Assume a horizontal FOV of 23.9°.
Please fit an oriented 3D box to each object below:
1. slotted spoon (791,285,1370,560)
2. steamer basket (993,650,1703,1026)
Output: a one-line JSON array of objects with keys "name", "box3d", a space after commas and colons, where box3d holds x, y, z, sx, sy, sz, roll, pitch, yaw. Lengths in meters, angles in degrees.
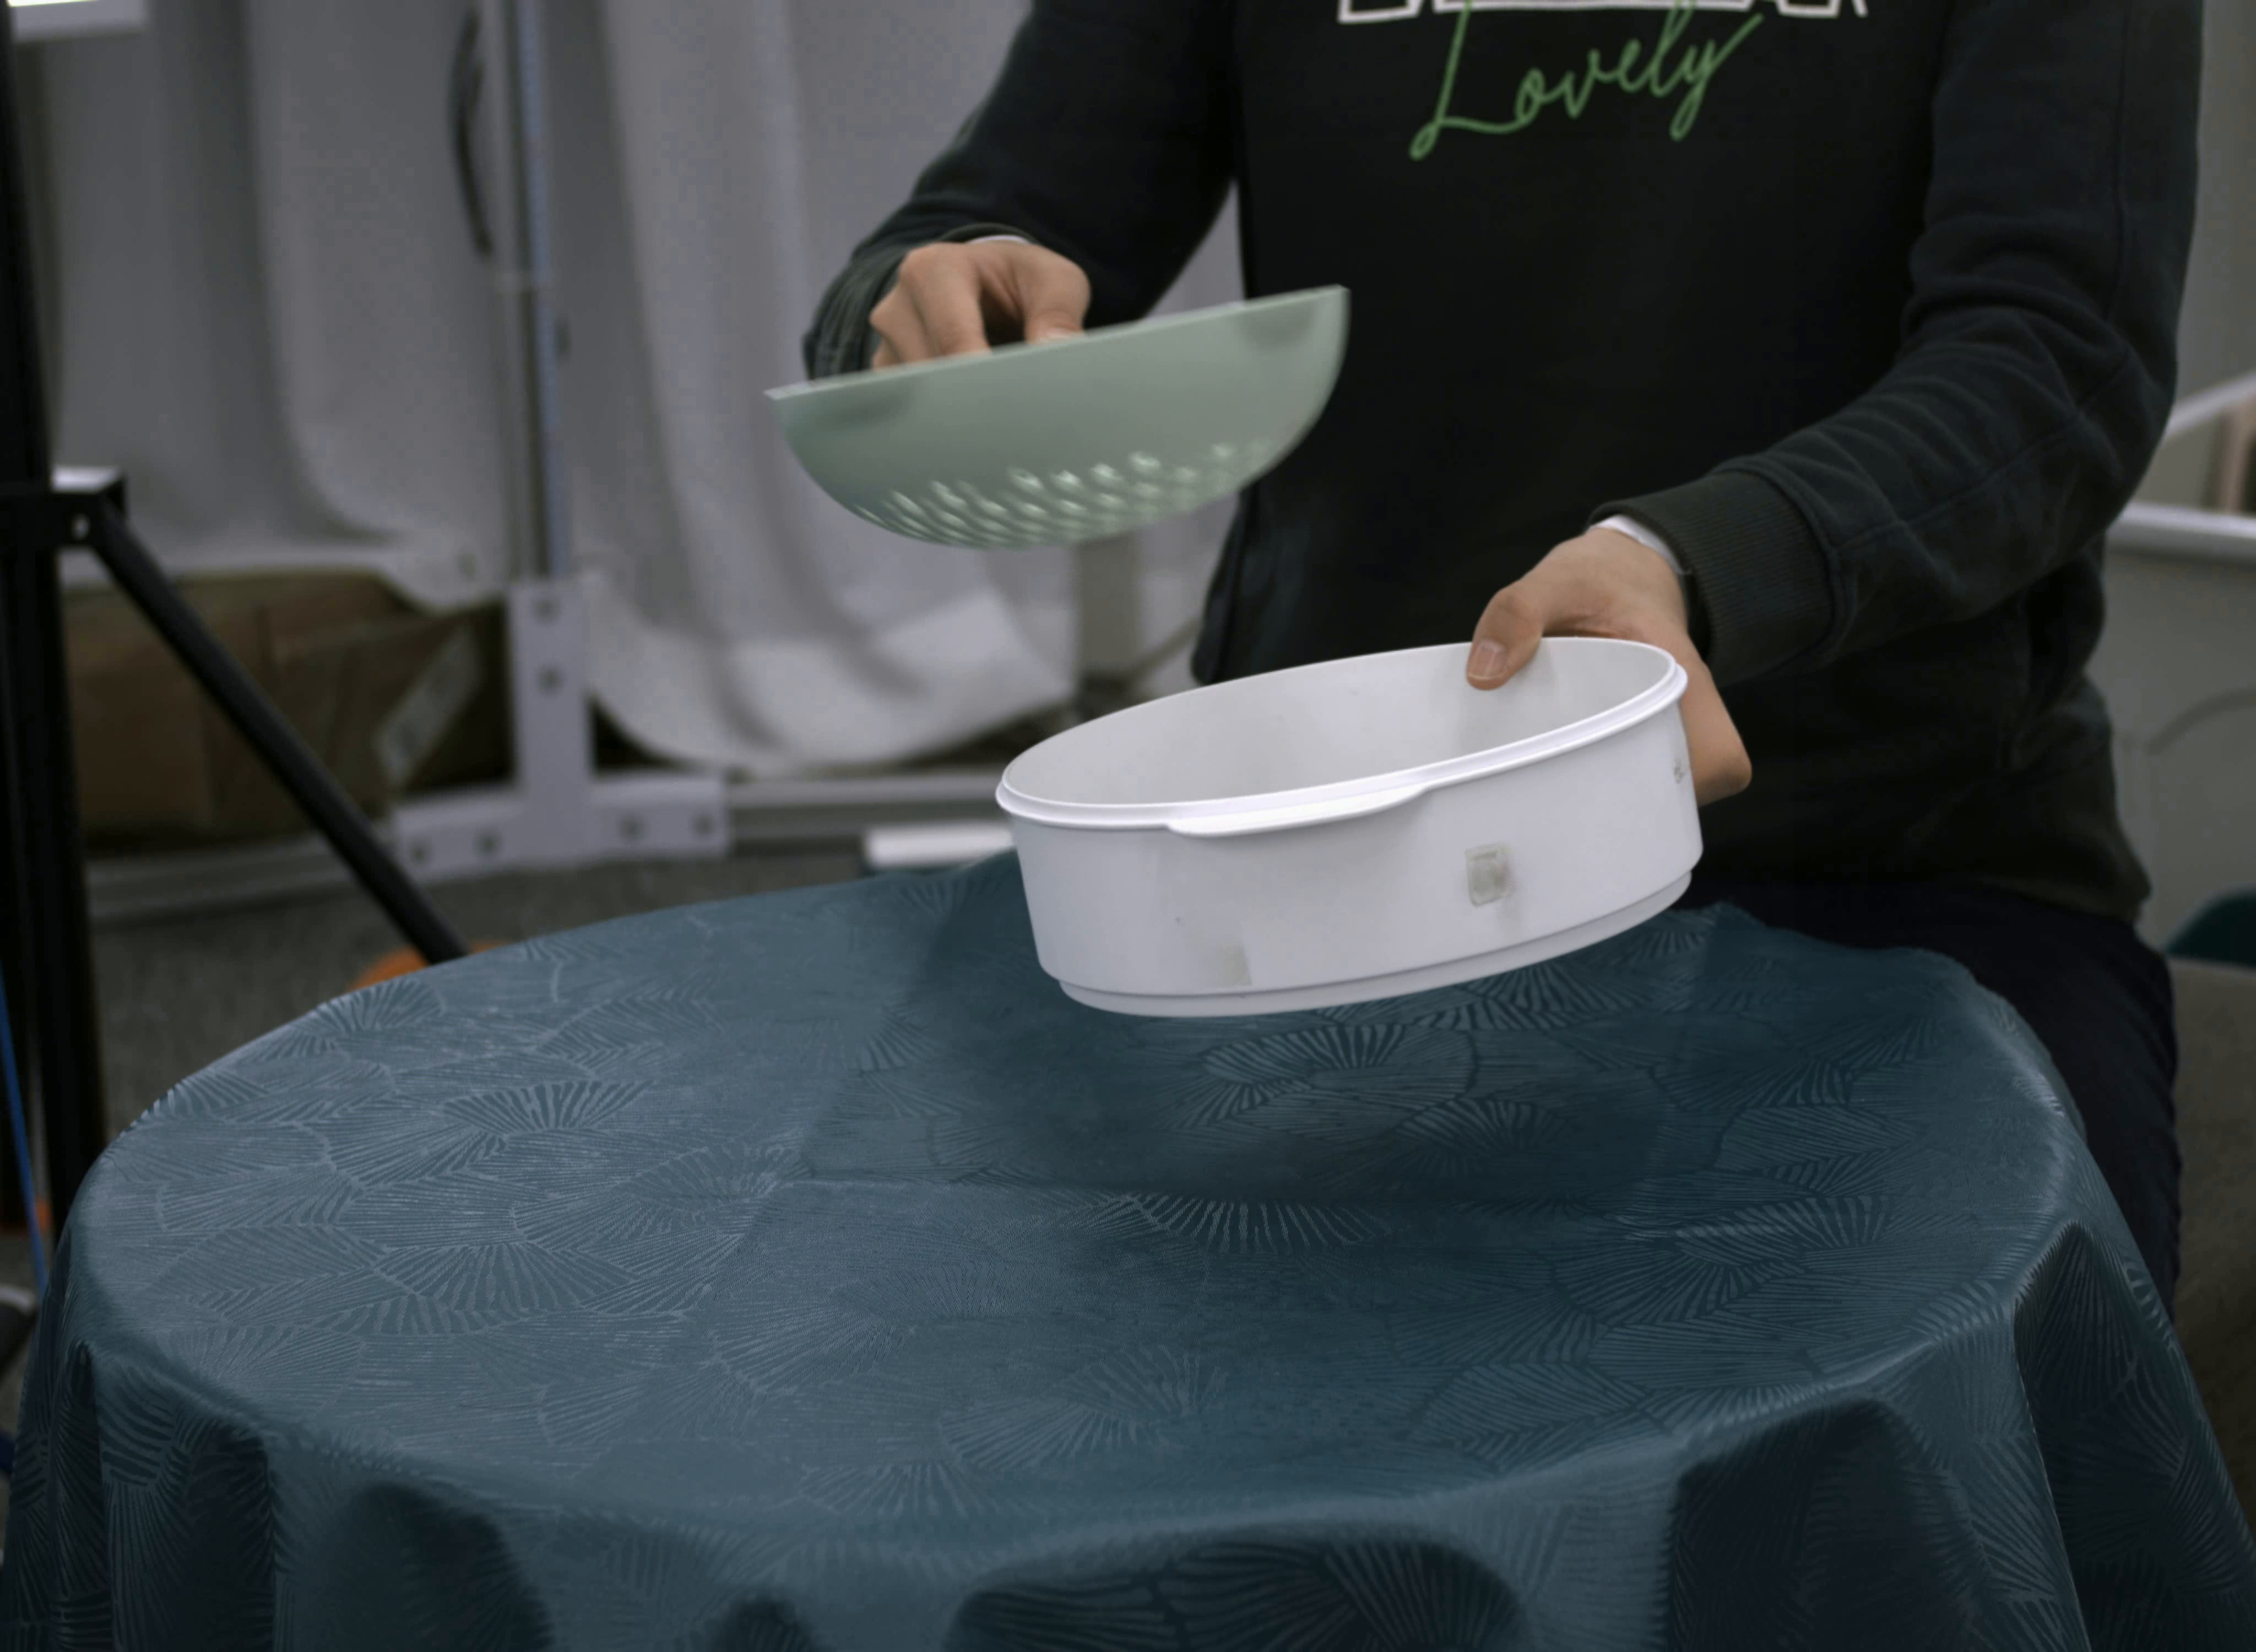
[{"name": "slotted spoon", "box3d": [-0.020, -0.129, 1.619, 0.168, 0.075, 0.361, -11, 12, -4]}, {"name": "steamer basket", "box3d": [0.065, 0.004, 1.516, 0.203, 0.069, 0.229, -7, 11, 11]}]
